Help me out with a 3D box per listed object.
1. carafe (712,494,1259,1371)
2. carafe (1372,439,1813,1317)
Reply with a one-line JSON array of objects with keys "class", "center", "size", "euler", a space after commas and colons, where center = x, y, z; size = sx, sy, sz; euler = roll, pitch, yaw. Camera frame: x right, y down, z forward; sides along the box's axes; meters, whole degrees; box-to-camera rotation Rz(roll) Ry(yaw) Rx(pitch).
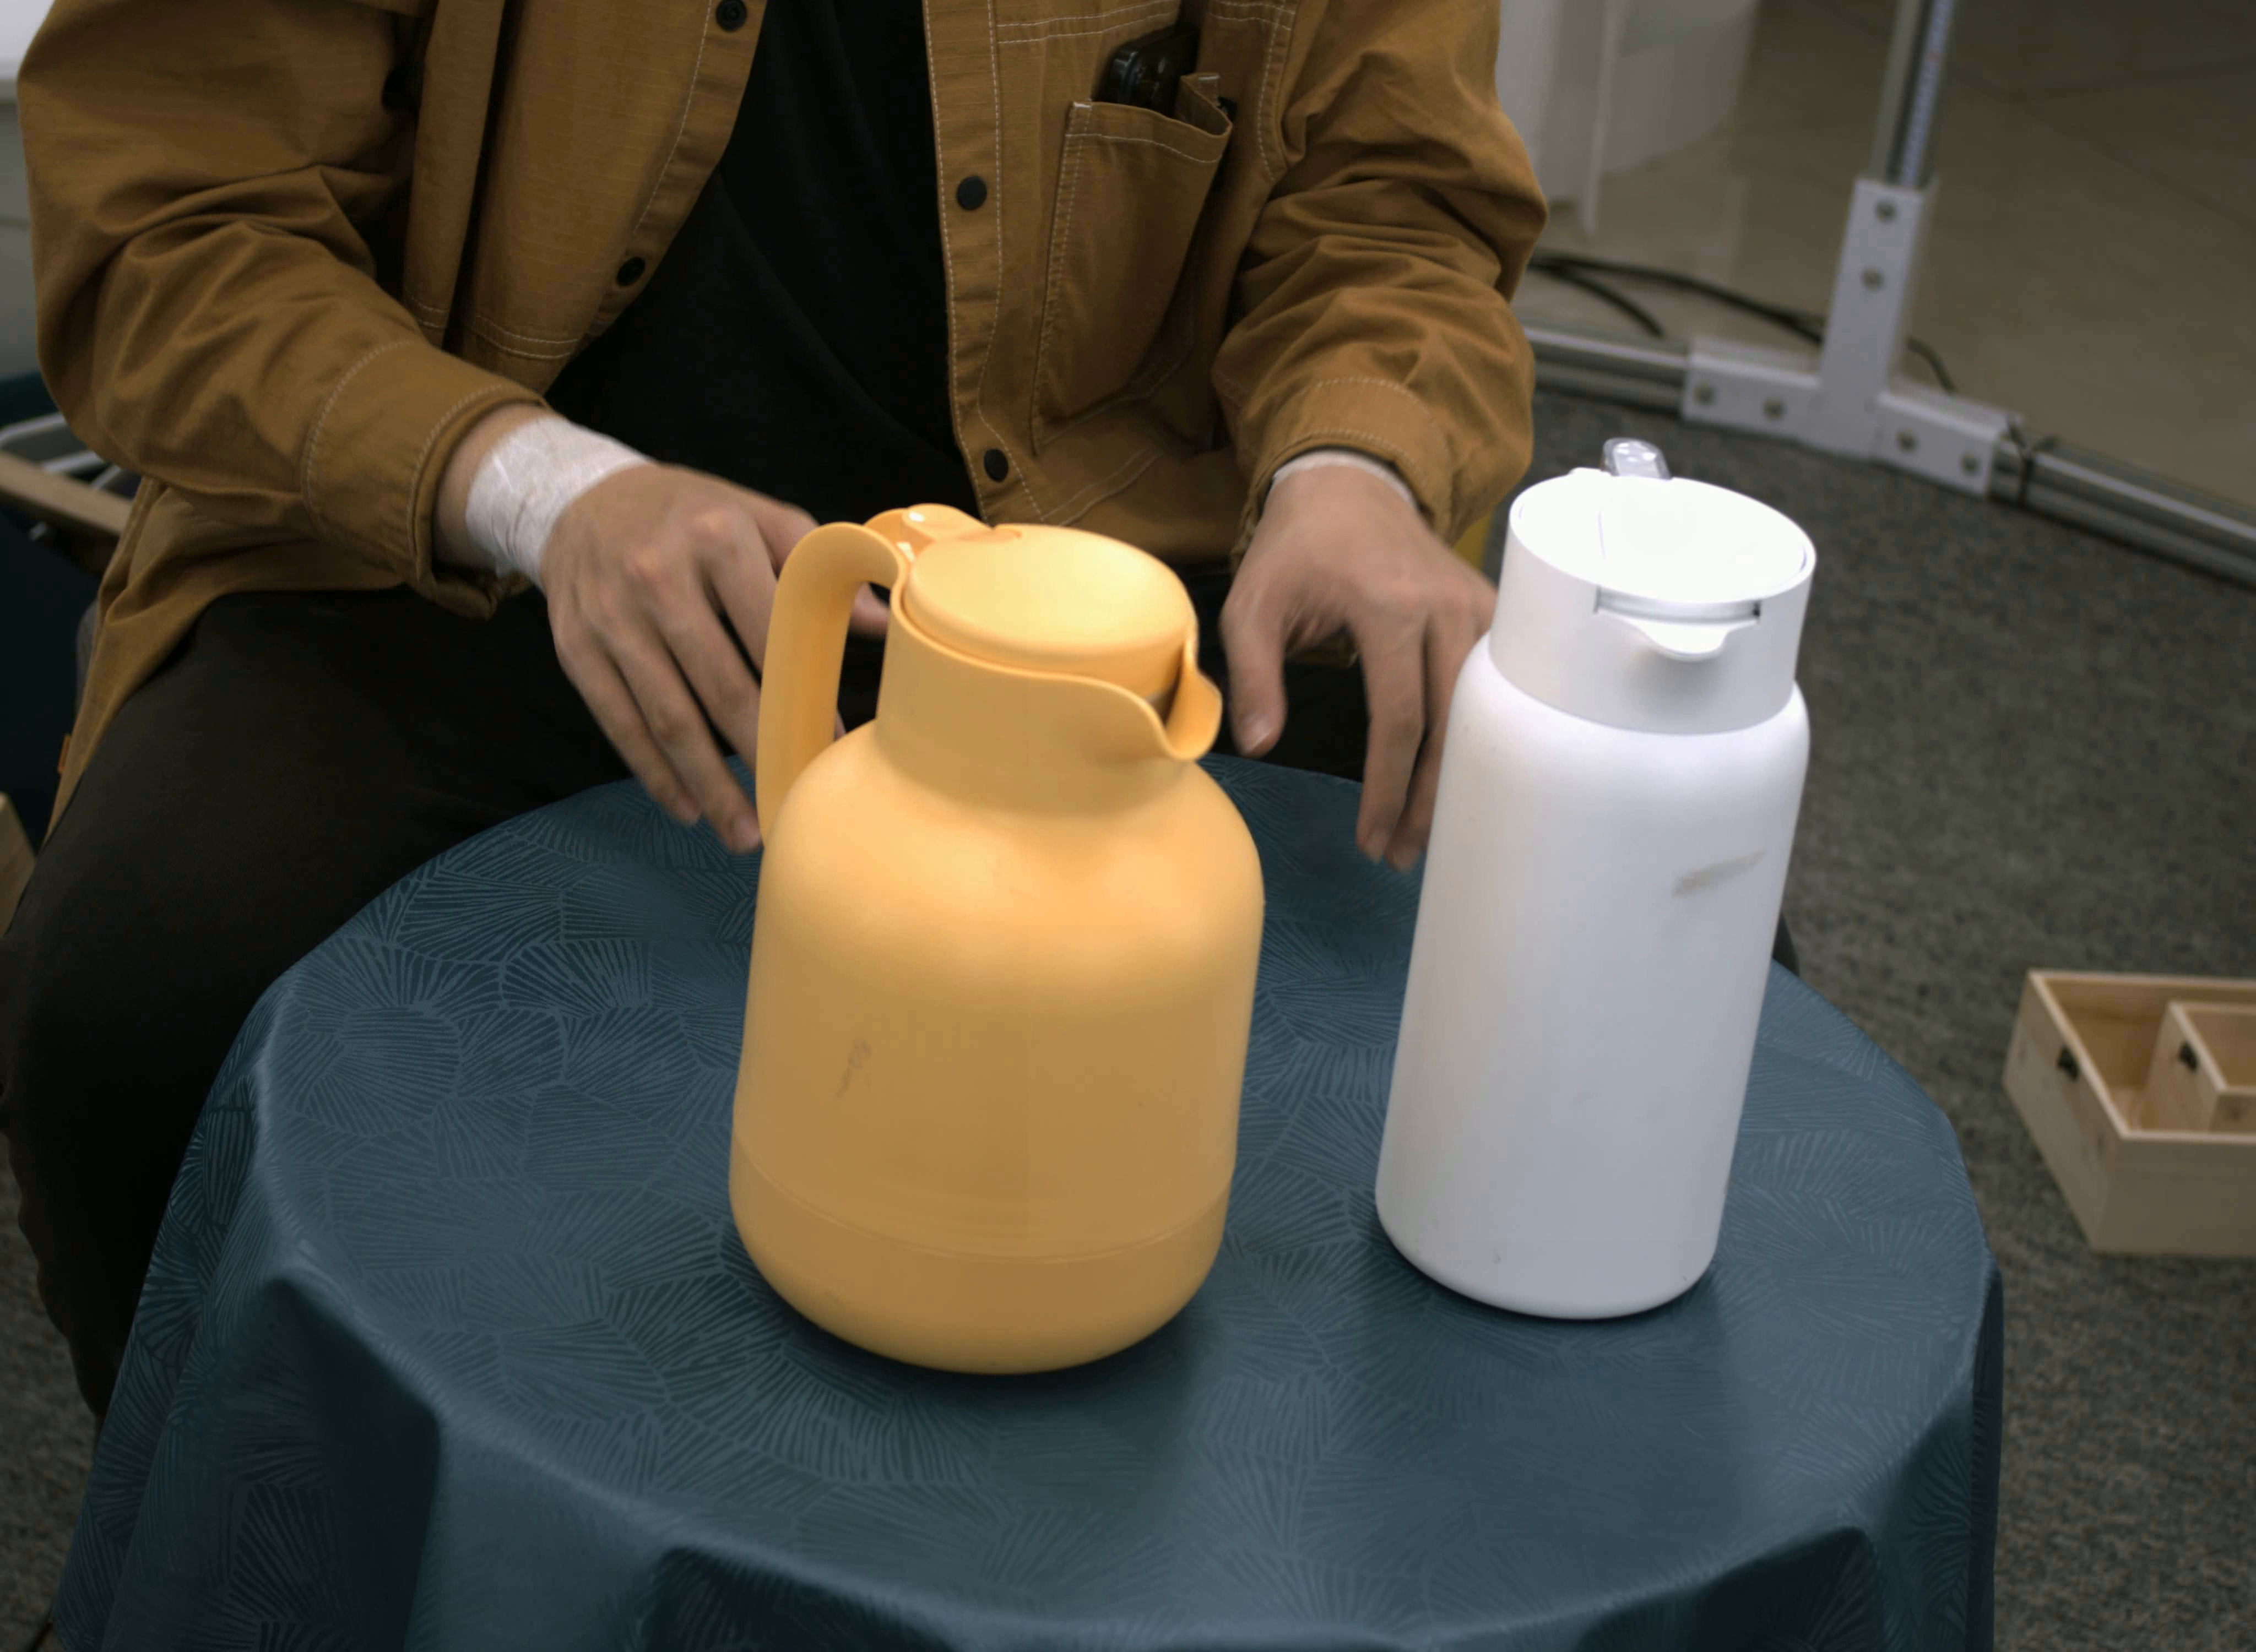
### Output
[{"class": "carafe", "center": [-0.051, 0.024, 1.700], "size": [0.162, 0.260, 0.204], "euler": [-10, 32, -37]}, {"class": "carafe", "center": [0.152, 0.014, 1.761], "size": [0.123, 0.268, 0.174], "euler": [2, 27, -6]}]
